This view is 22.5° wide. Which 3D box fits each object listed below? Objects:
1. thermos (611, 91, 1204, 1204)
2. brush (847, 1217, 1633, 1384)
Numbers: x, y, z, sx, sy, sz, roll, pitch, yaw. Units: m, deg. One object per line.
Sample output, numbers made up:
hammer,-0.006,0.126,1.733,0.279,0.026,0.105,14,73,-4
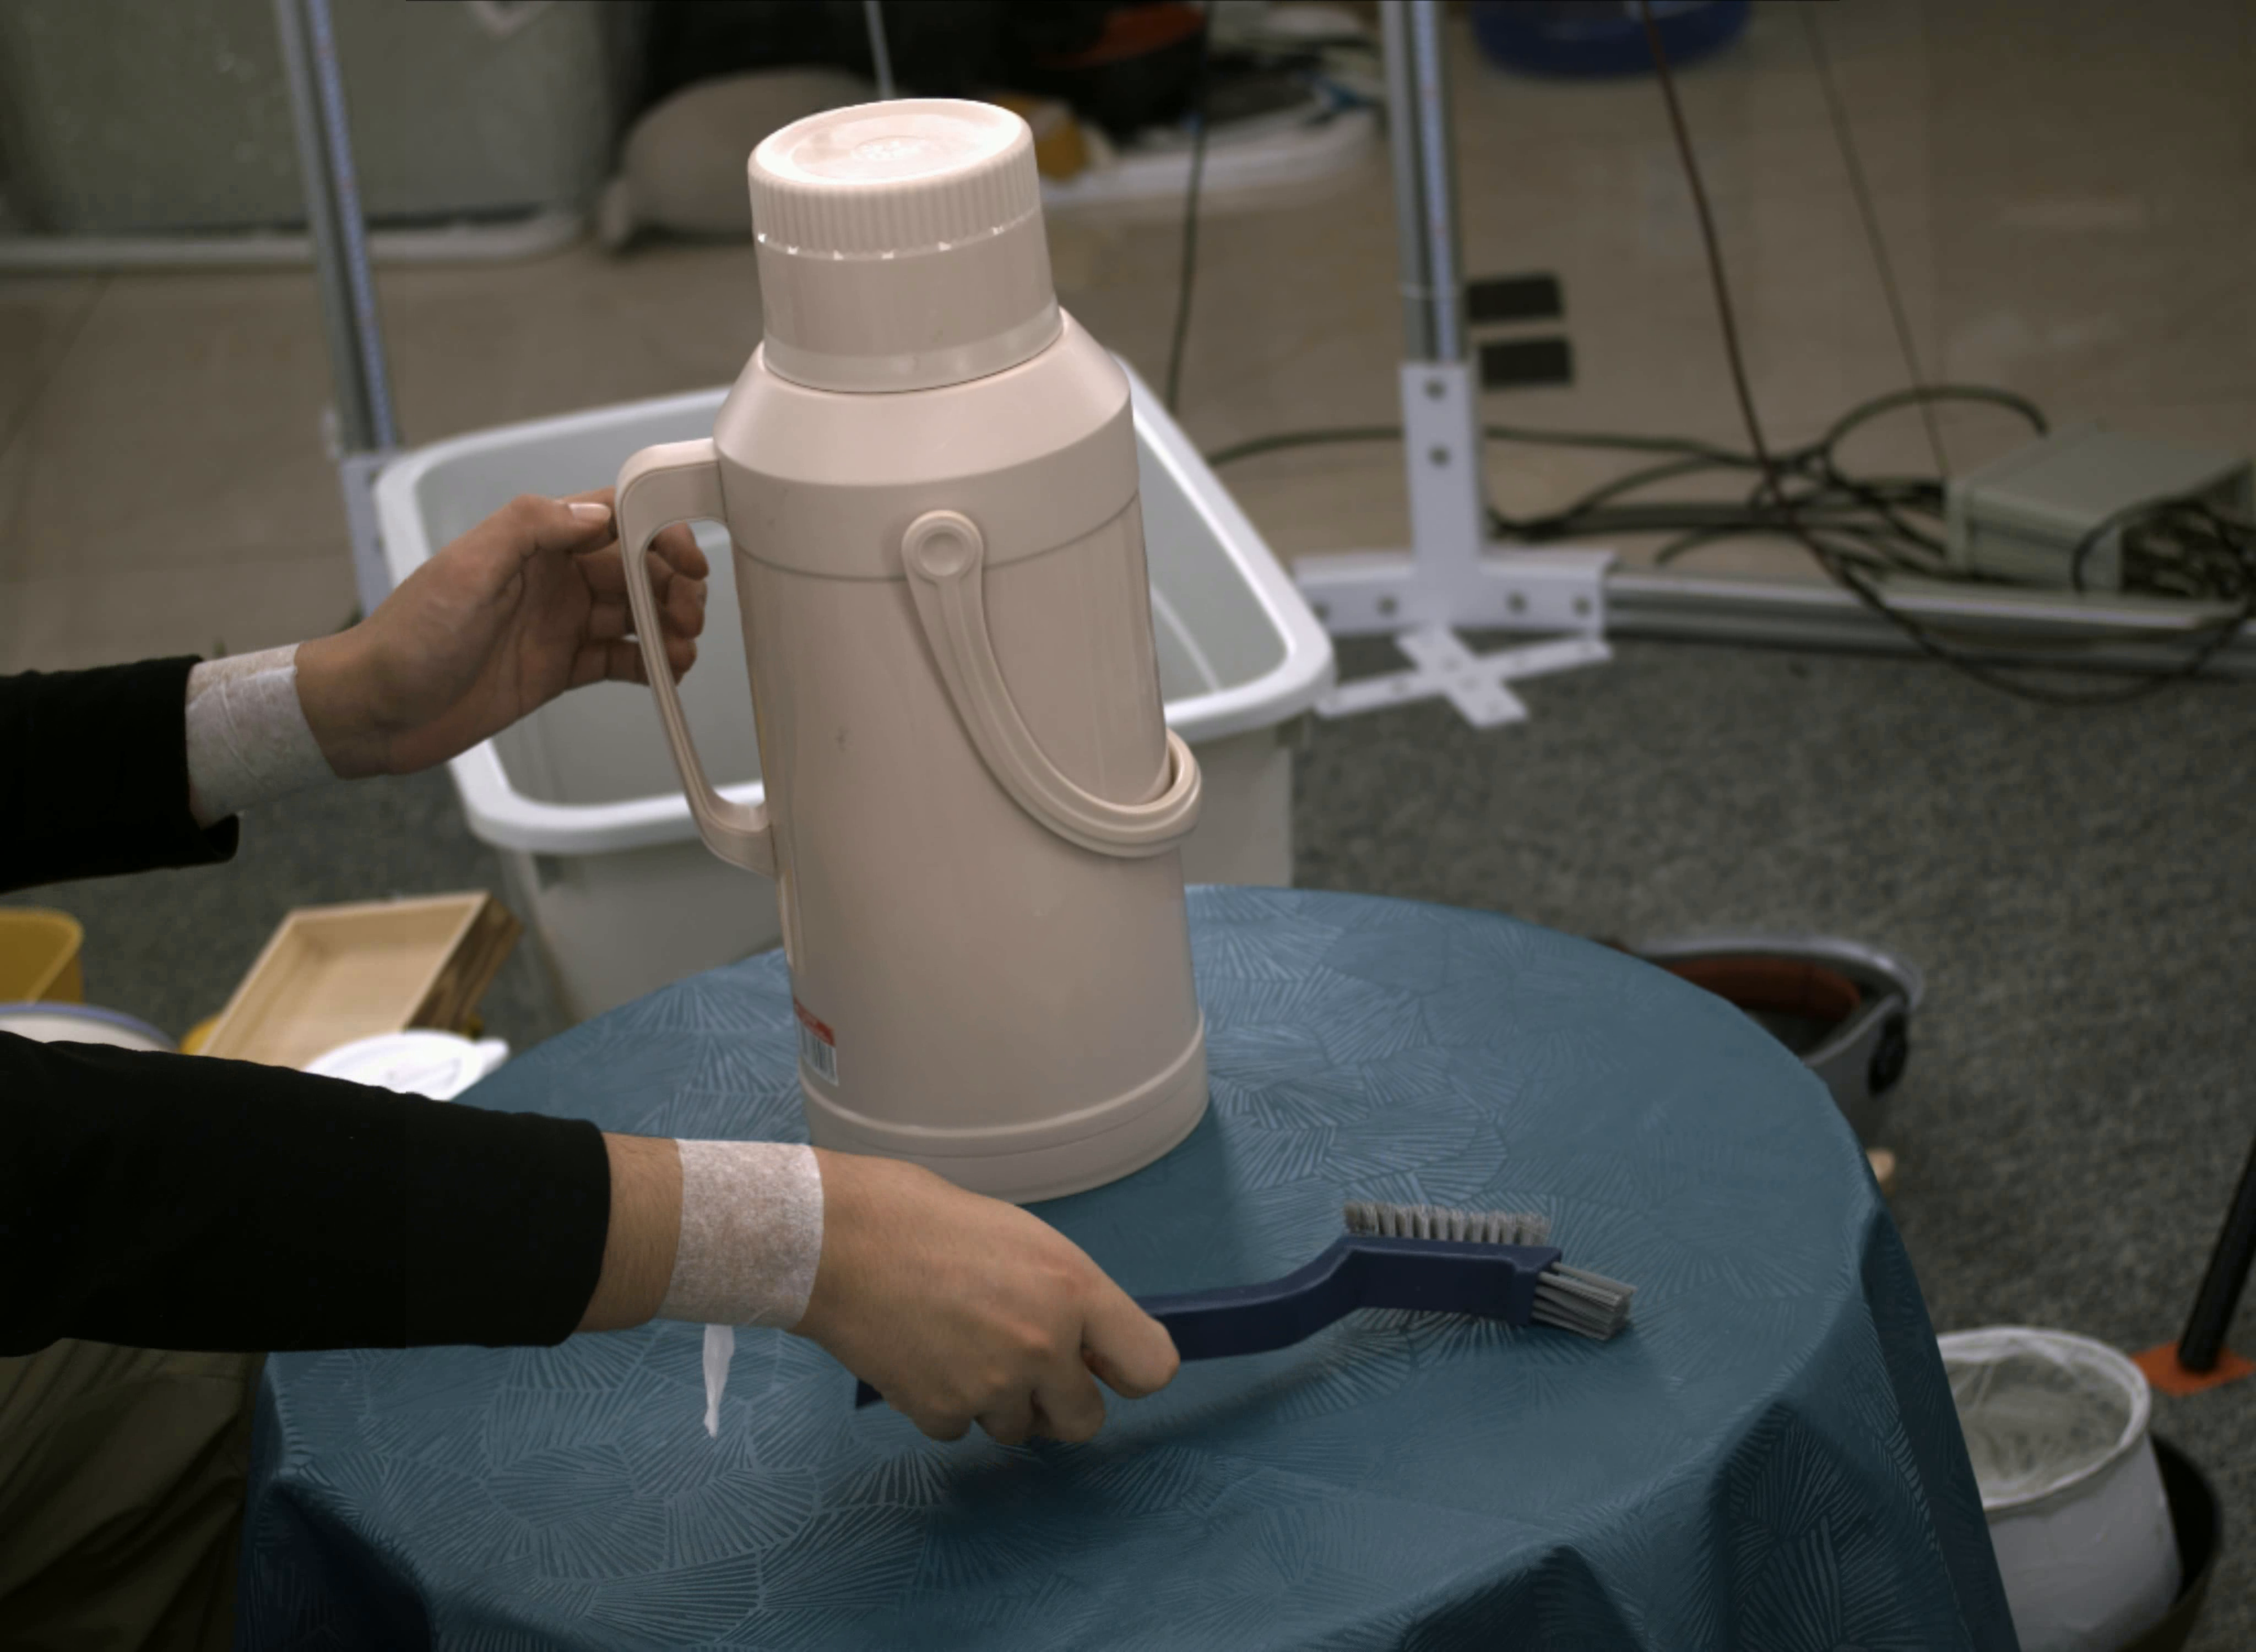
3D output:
thermos,-0.082,-0.067,2.132,0.206,0.413,0.172,-8,27,-3
brush,0.038,0.176,1.984,0.272,0.034,0.094,-9,37,-25
